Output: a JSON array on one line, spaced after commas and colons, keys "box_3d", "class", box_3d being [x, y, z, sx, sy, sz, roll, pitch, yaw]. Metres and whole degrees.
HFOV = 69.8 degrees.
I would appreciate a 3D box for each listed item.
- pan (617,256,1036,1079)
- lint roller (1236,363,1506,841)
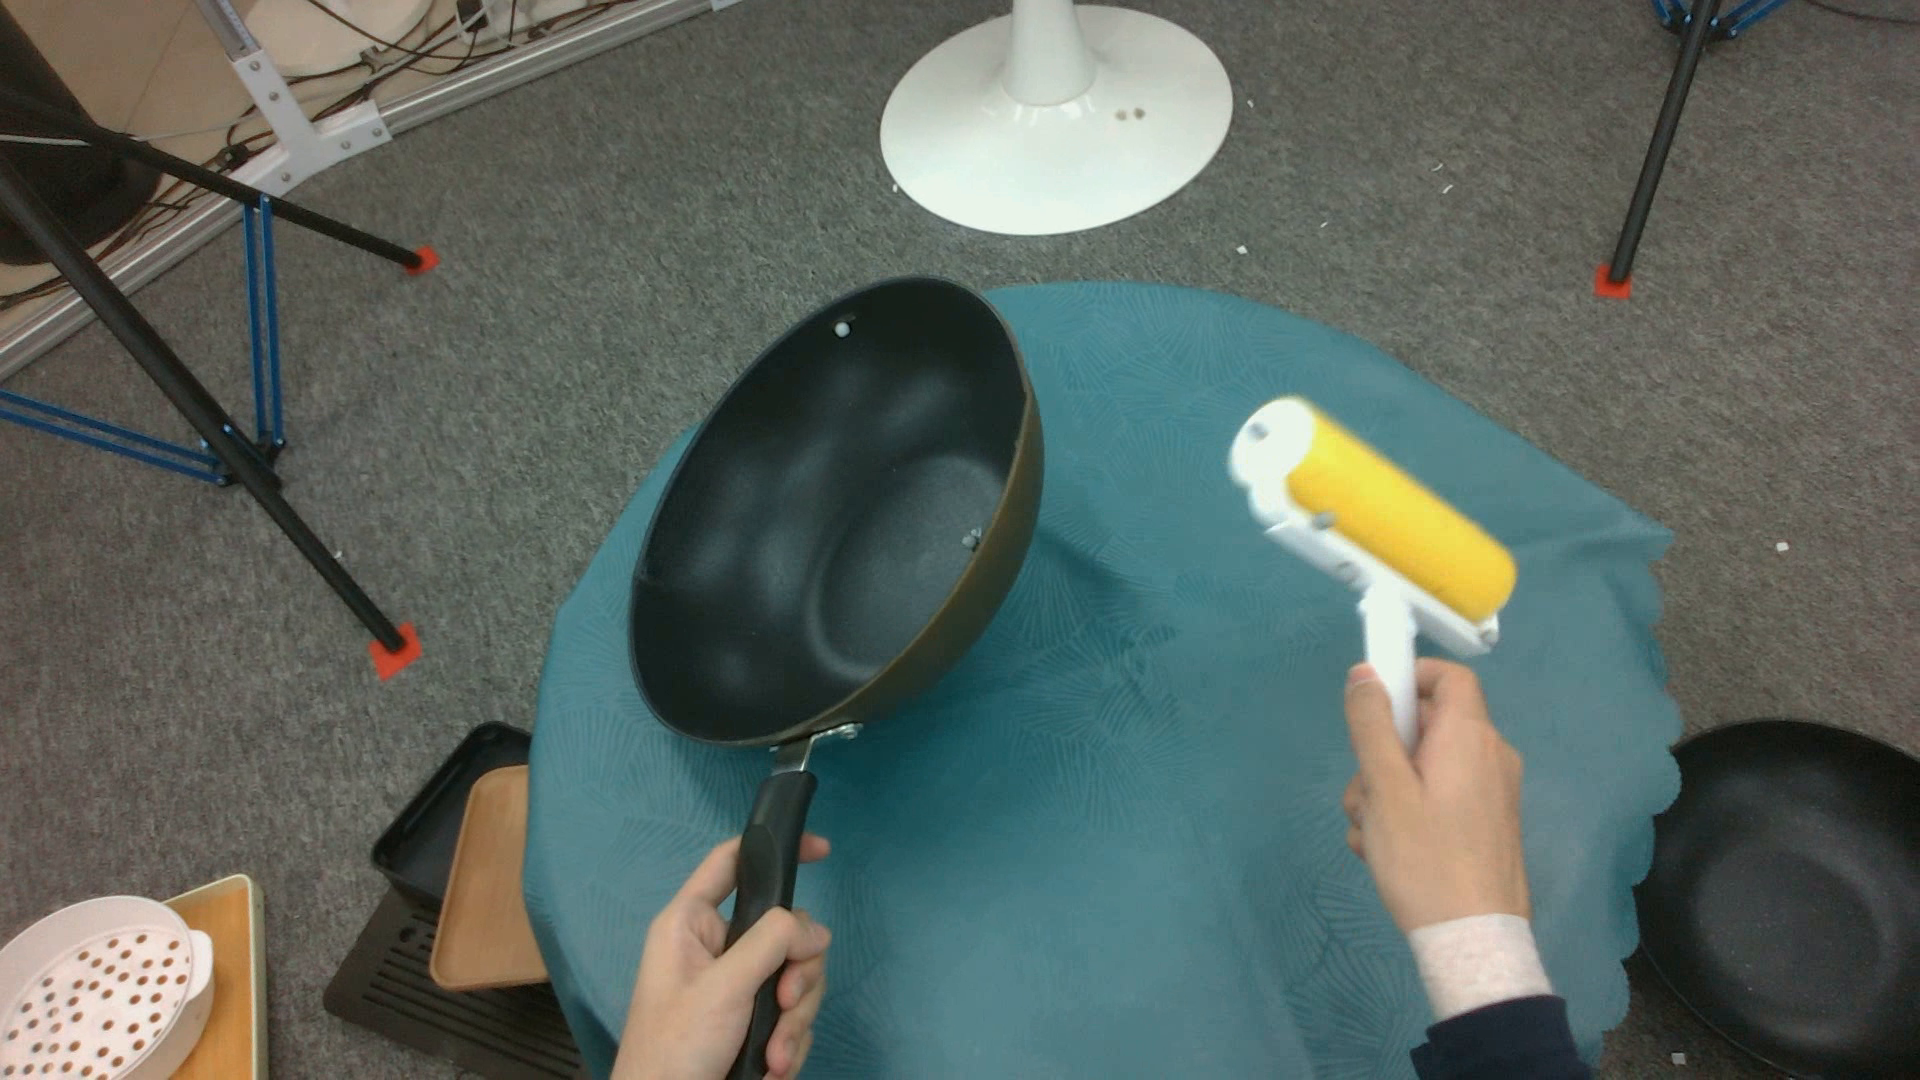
[{"box_3d": [-0.067, 0.062, 0.698, 0.287, 0.087, 0.465, -21, 50, 32], "class": "pan"}, {"box_3d": [0.196, 0.035, 0.609, 0.051, 0.174, 0.193, -30, 47, 36], "class": "lint roller"}]
